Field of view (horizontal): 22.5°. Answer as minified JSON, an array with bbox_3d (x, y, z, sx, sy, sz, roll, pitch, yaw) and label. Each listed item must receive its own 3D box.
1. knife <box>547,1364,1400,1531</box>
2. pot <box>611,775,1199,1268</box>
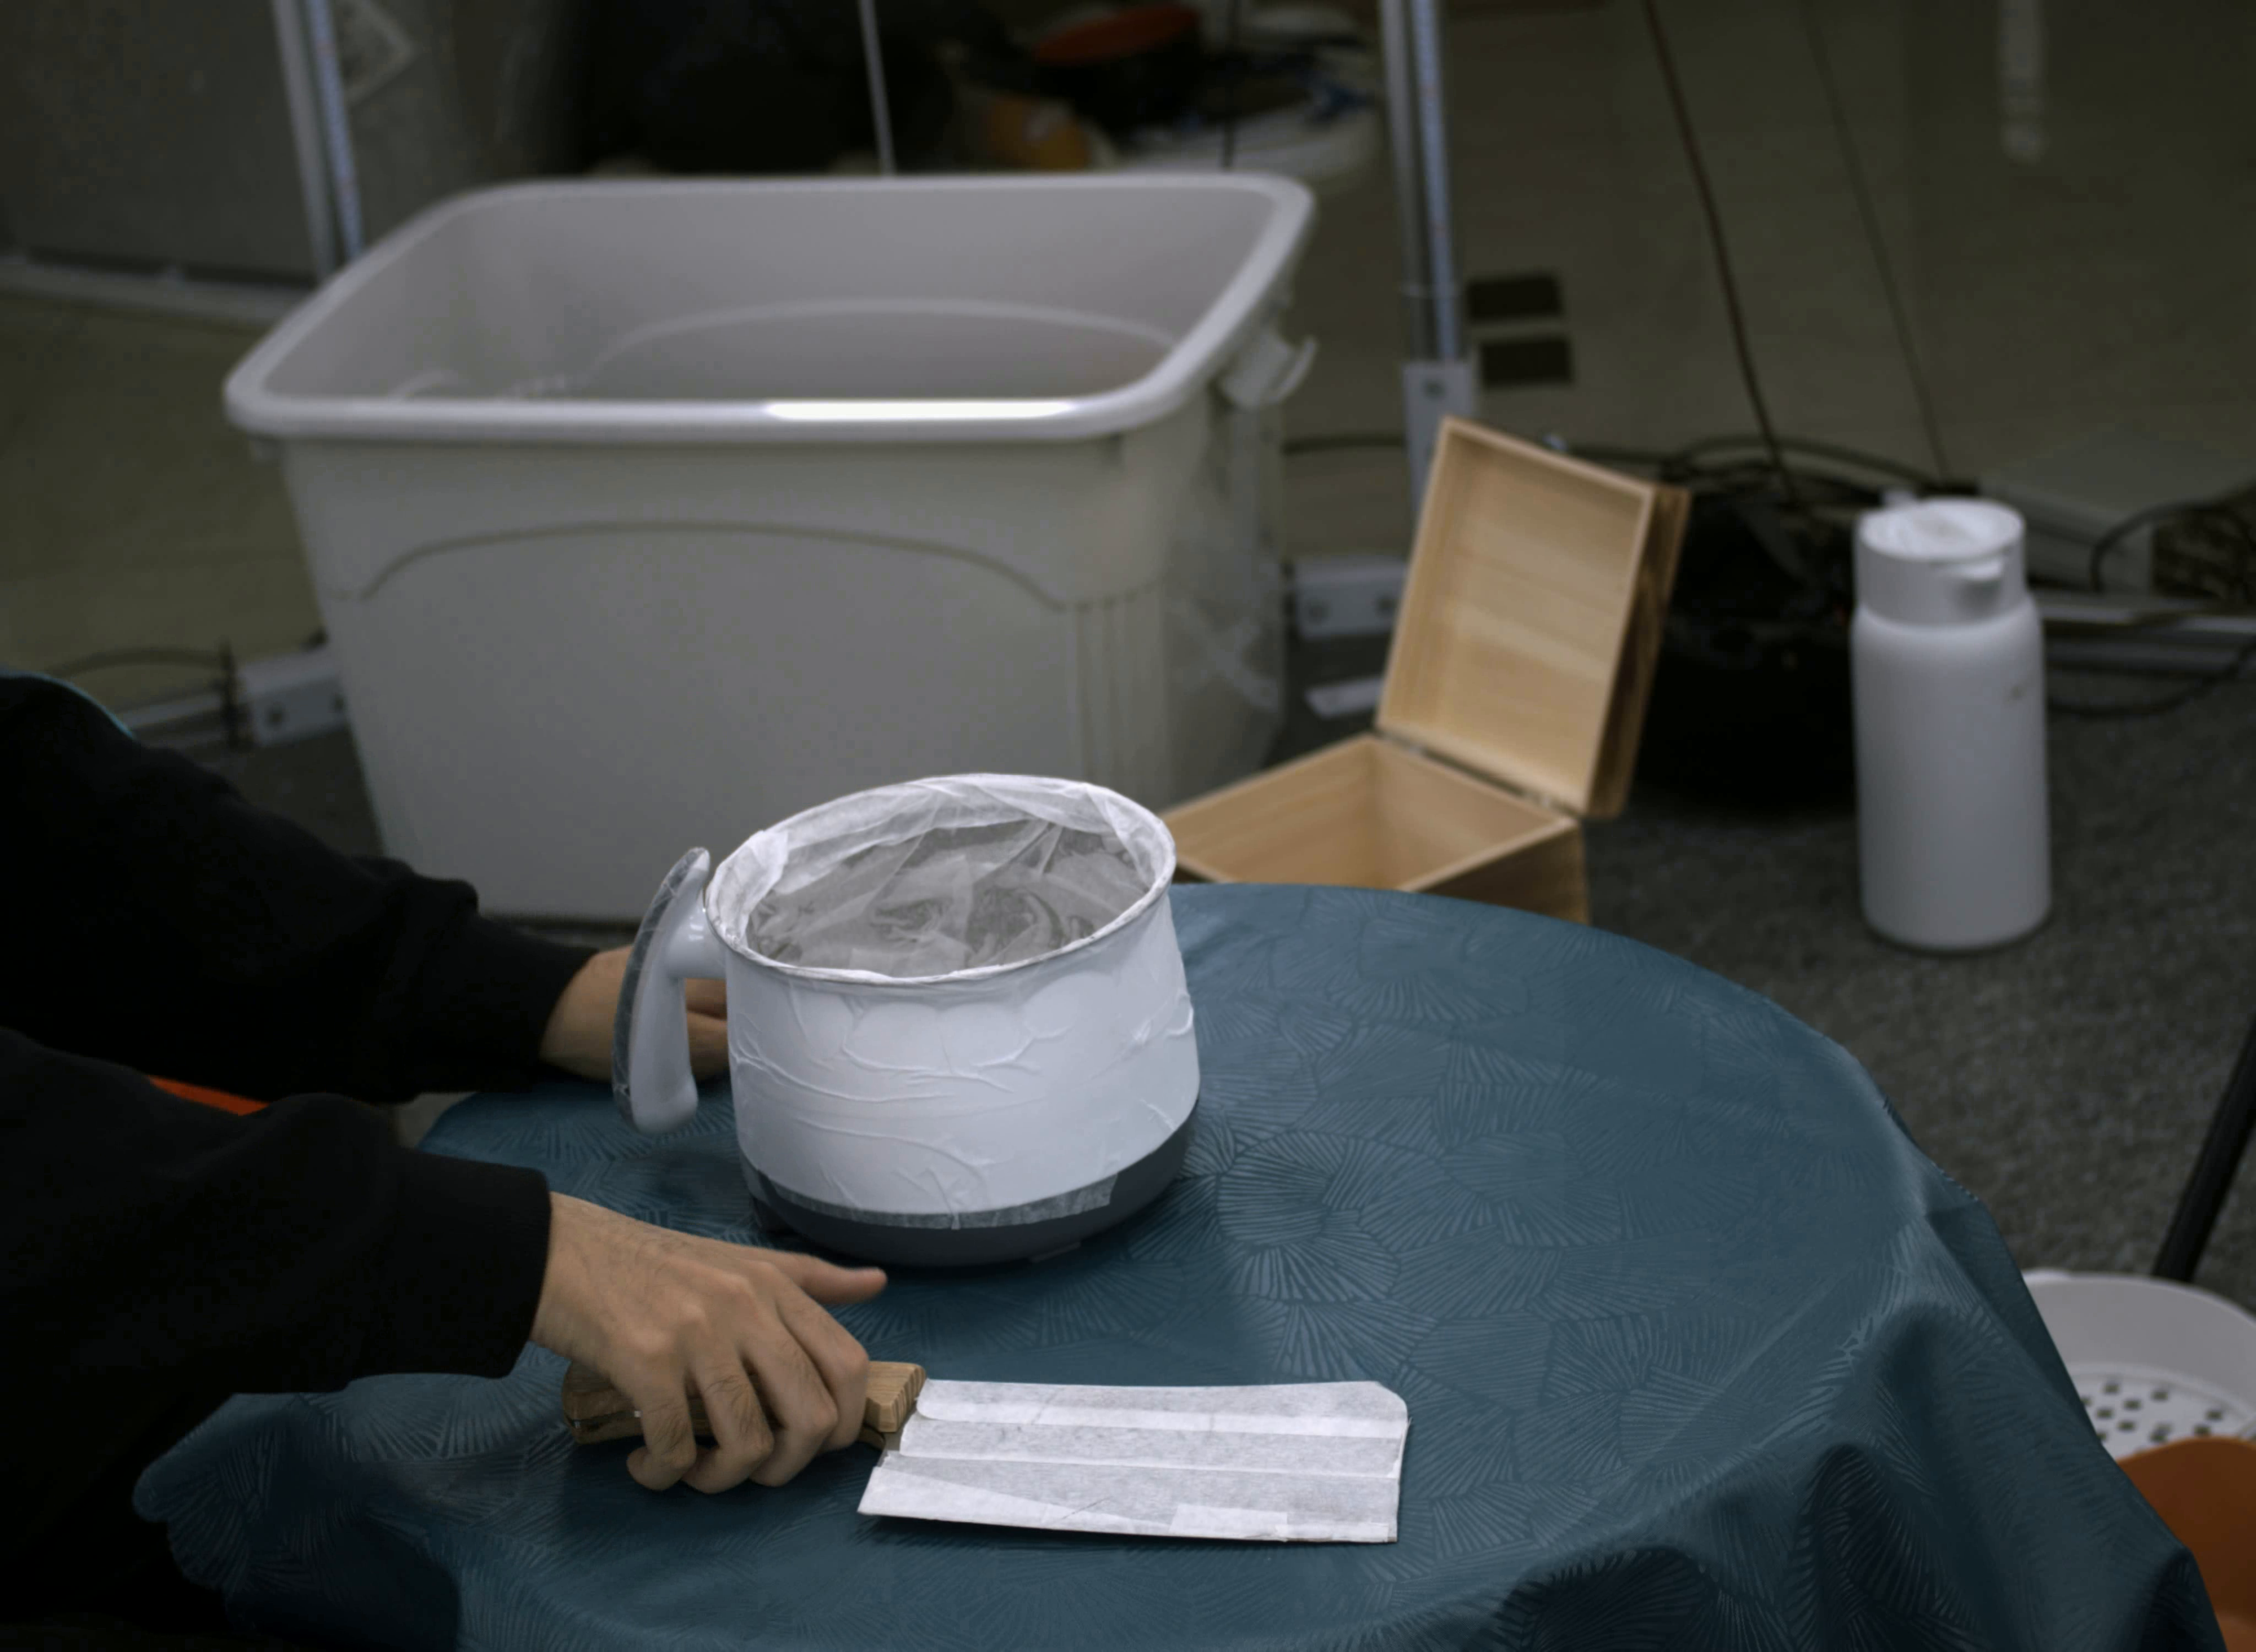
[{"bbox_3d":[-0.053,0.213,1.981,0.314,0.022,0.112,3,27,14],"label":"knife"},{"bbox_3d":[-0.090,0.074,2.143,0.233,0.139,0.176,3,27,18],"label":"pot"}]
